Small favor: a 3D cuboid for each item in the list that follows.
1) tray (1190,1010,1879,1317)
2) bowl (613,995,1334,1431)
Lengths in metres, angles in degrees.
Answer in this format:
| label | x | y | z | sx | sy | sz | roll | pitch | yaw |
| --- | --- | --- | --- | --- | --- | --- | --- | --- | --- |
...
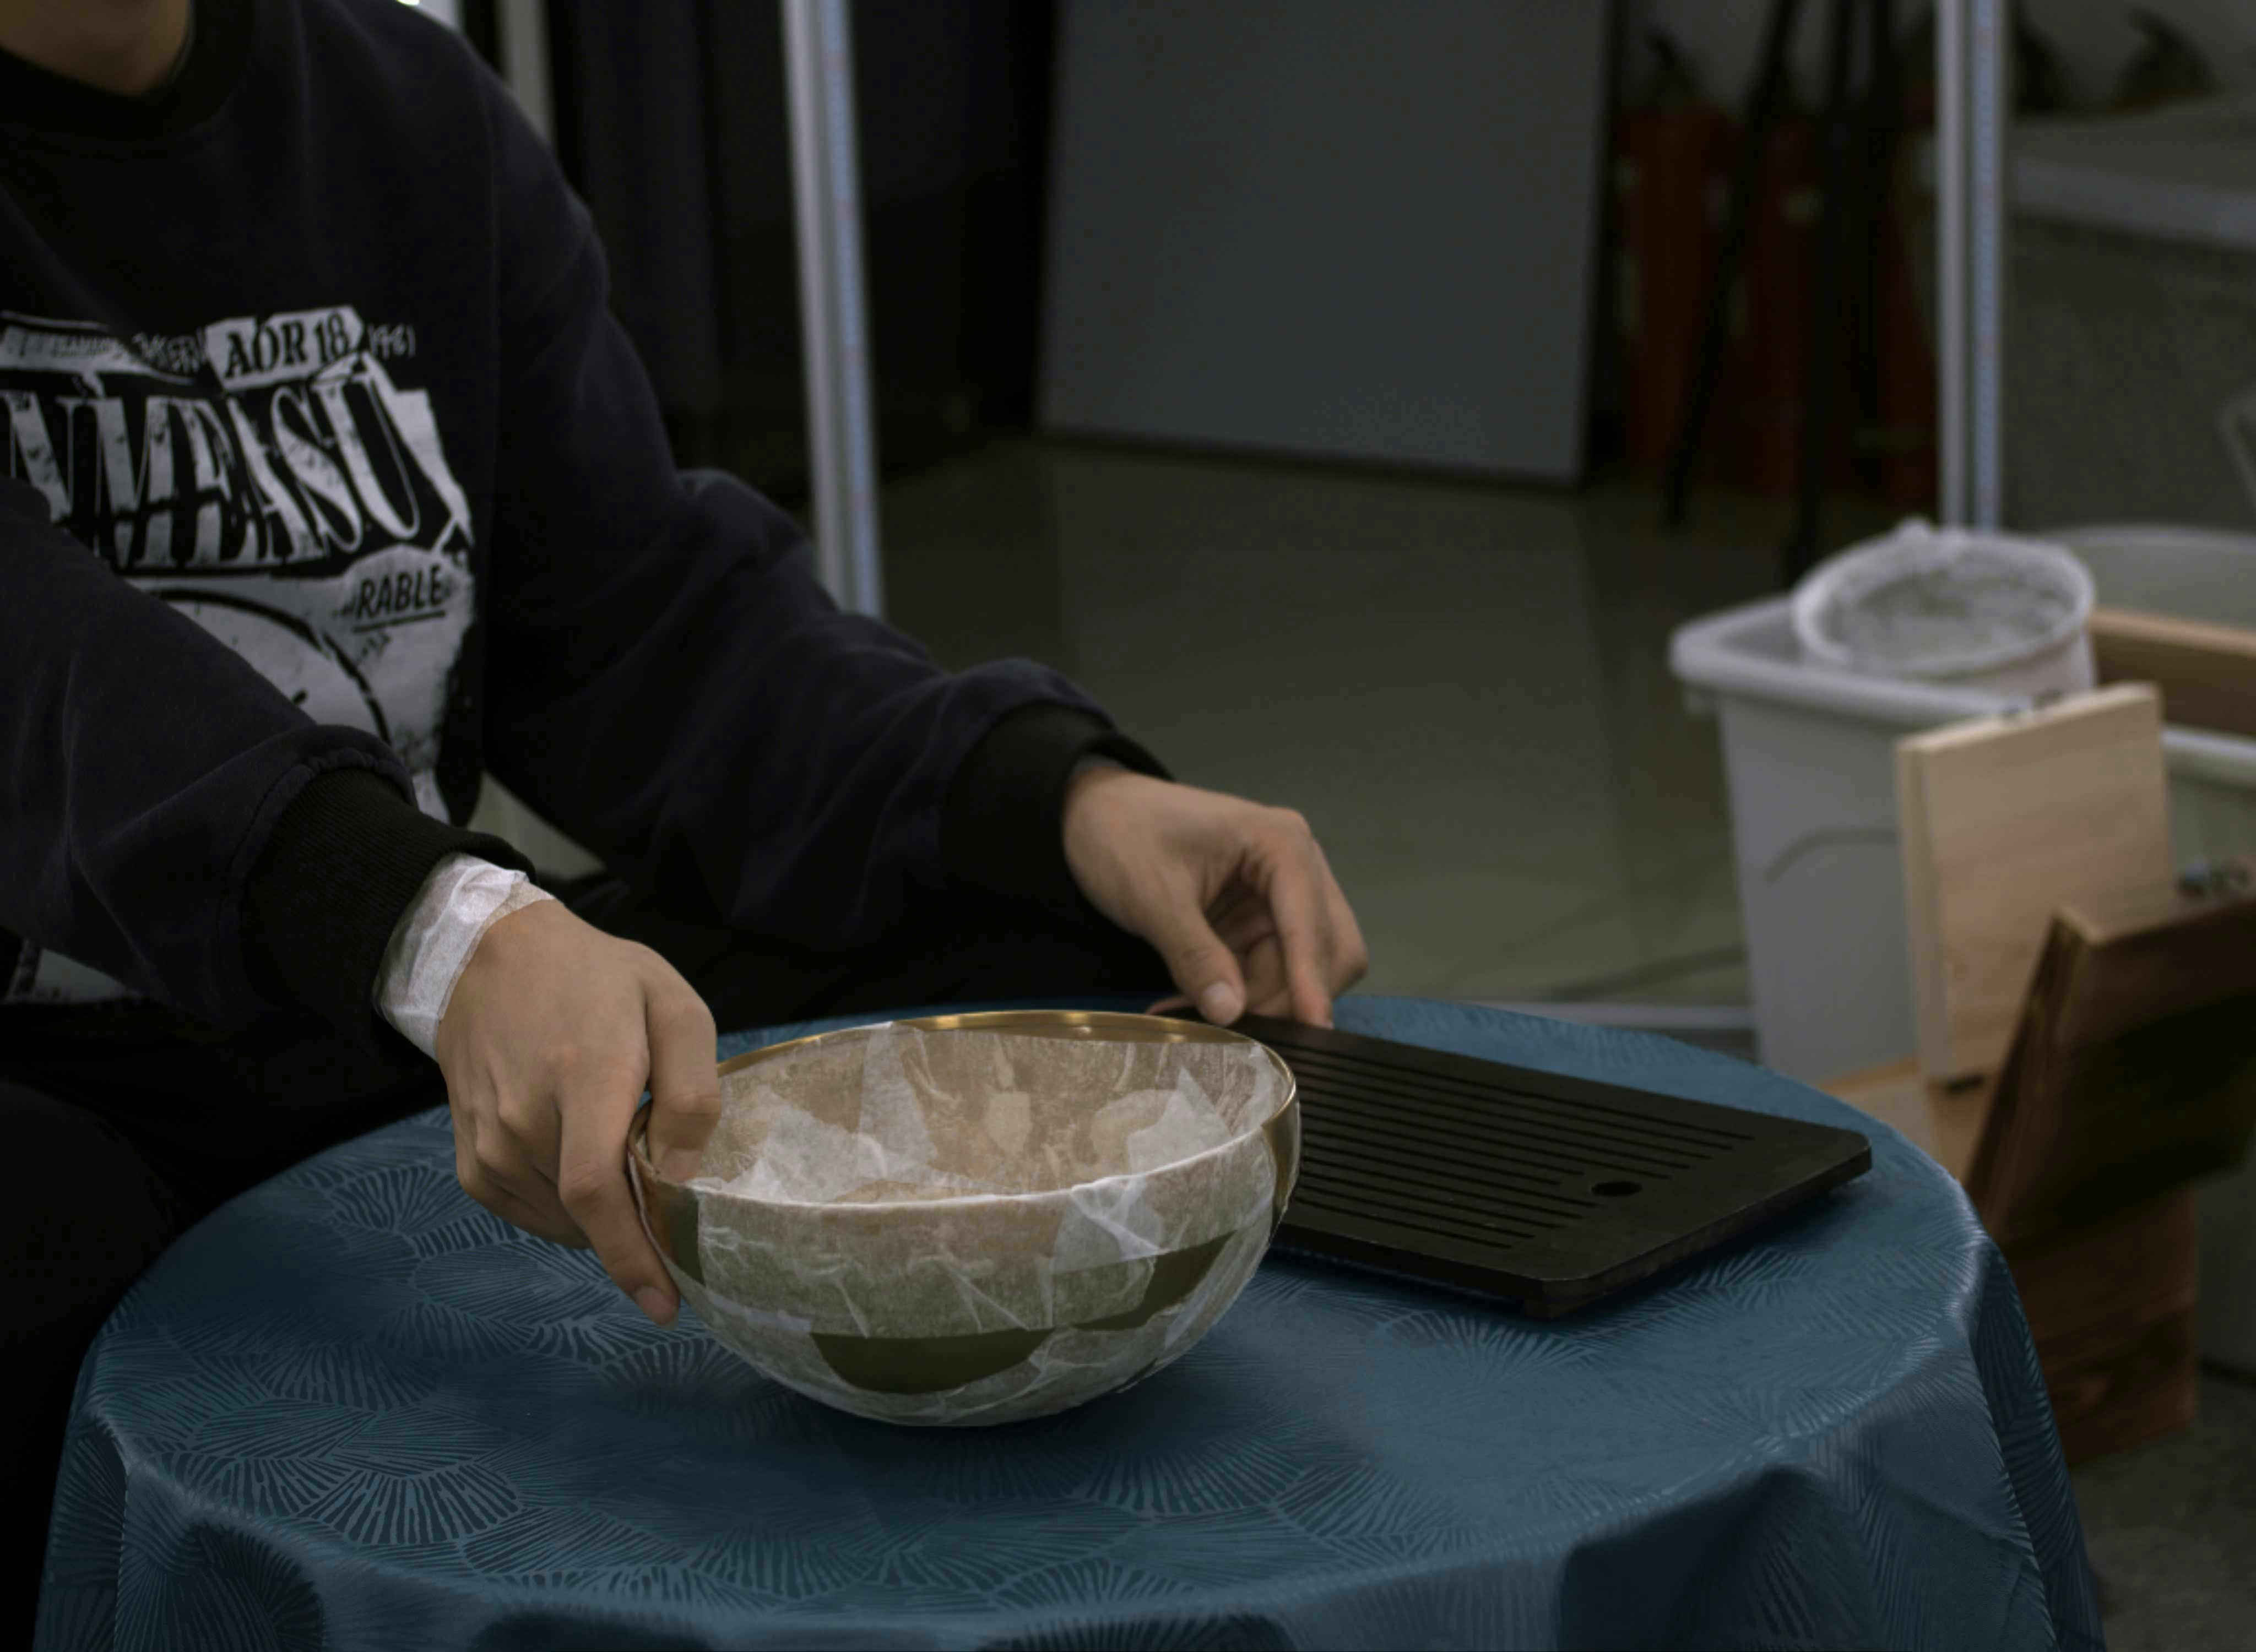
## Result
| label | x | y | z | sx | sy | sz | roll | pitch | yaw |
| --- | --- | --- | --- | --- | --- | --- | --- | --- | --- |
| tray | 0.080 | 0.108 | 1.766 | 0.308 | 0.019 | 0.167 | 9 | 19 | 43 |
| bowl | -0.043 | 0.122 | 1.588 | 0.212 | 0.095 | 0.215 | -5 | 13 | 0 |
